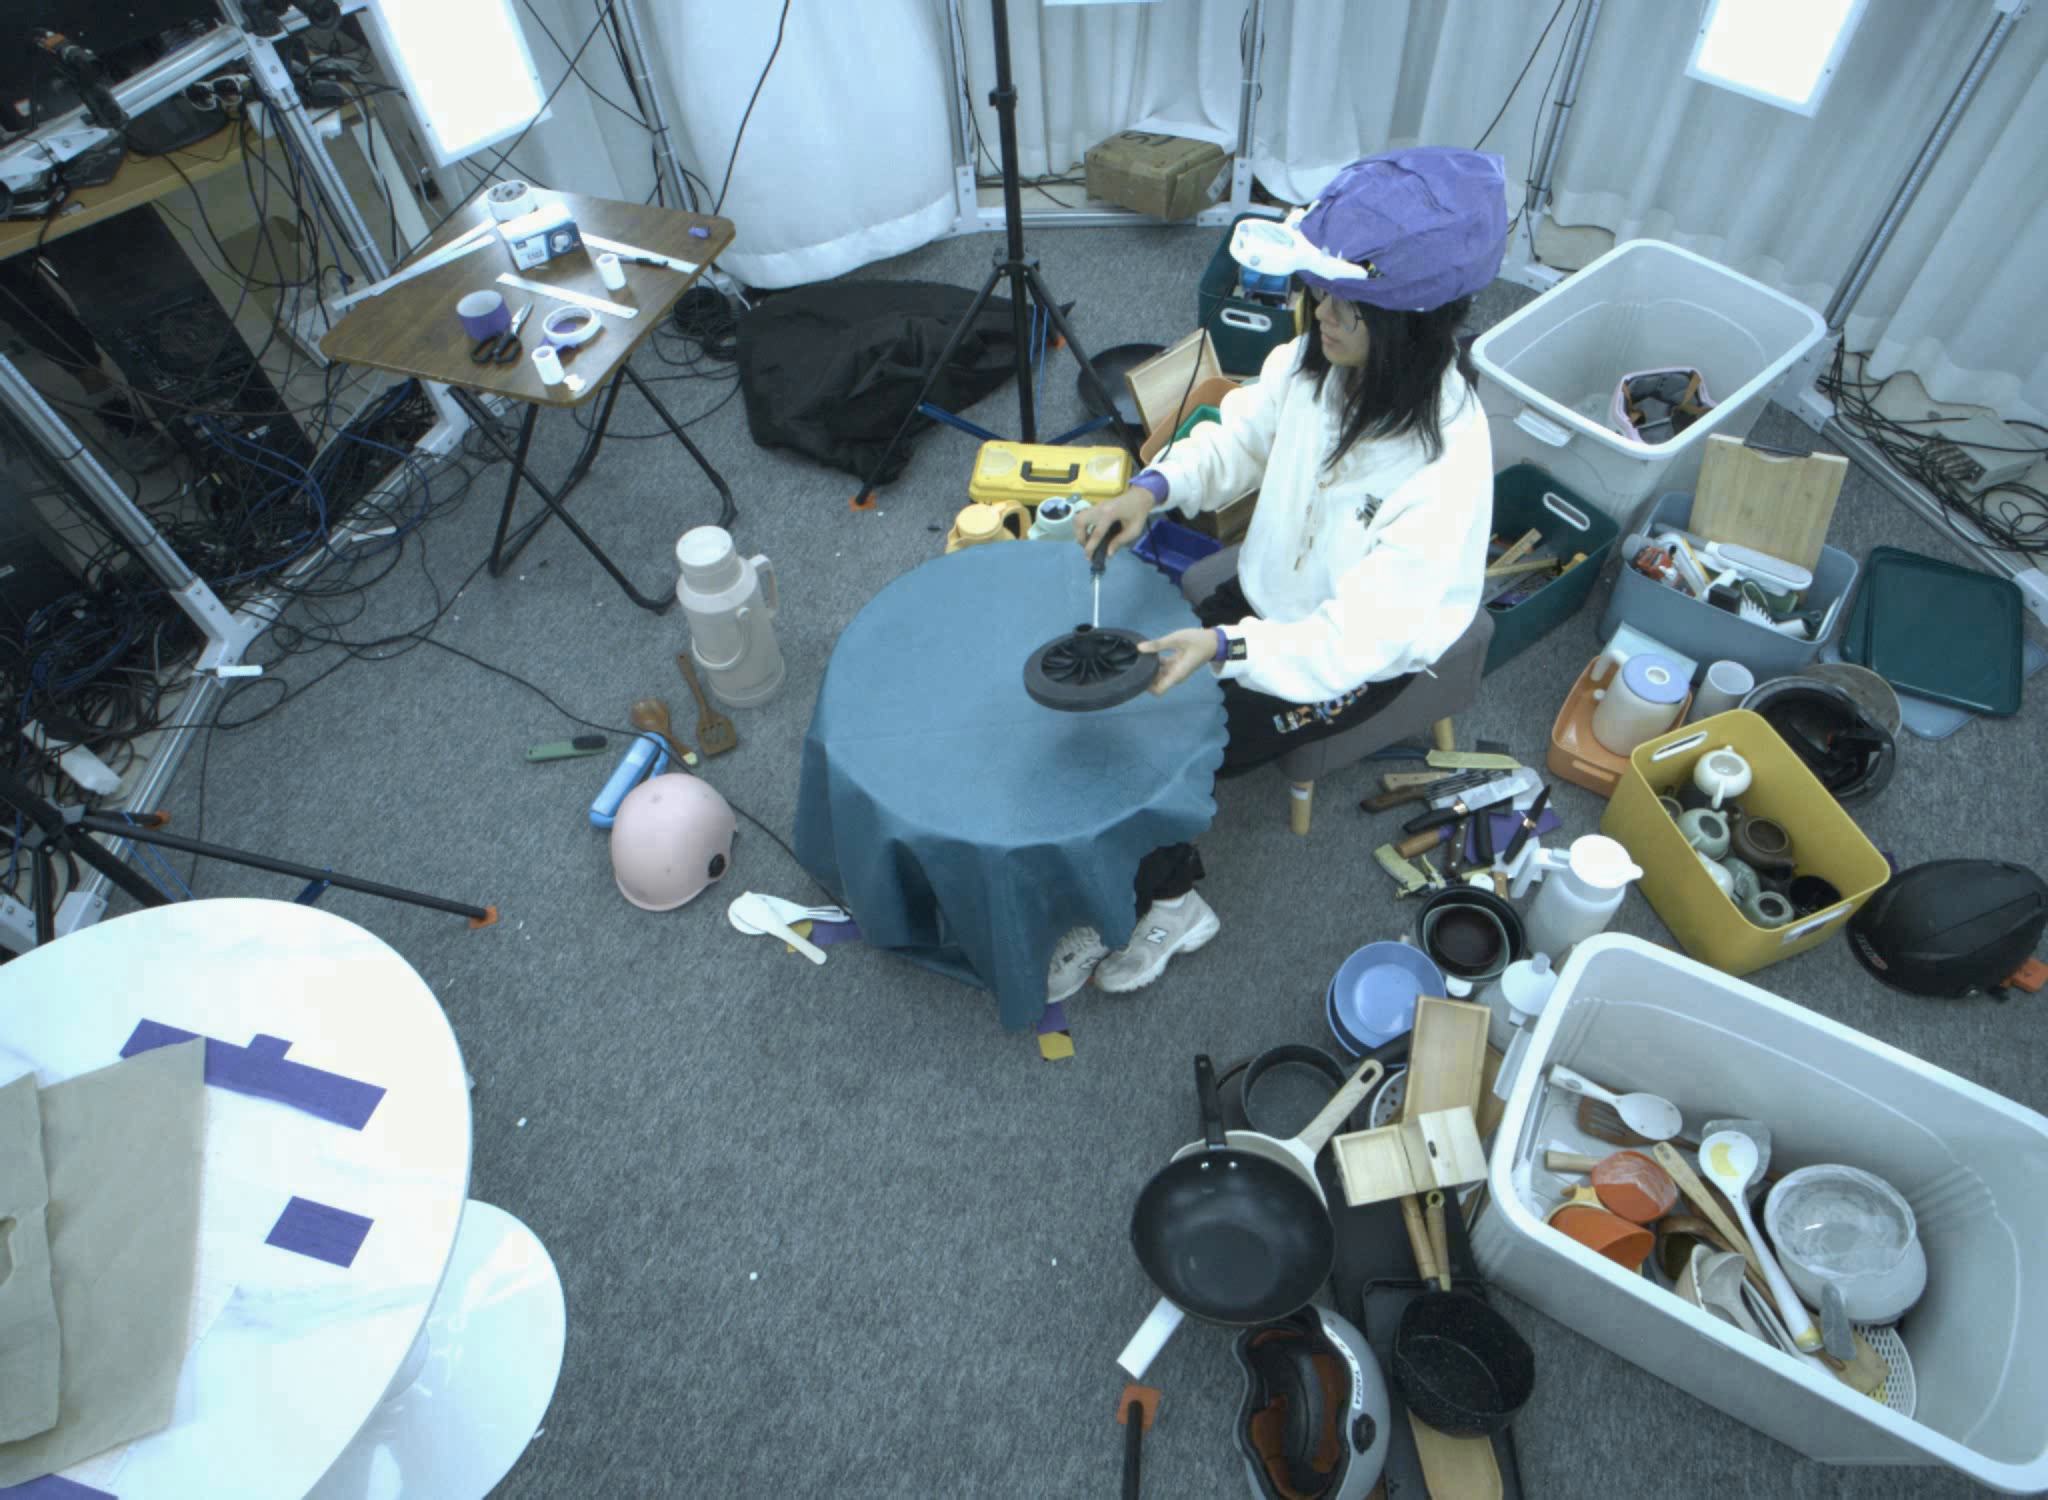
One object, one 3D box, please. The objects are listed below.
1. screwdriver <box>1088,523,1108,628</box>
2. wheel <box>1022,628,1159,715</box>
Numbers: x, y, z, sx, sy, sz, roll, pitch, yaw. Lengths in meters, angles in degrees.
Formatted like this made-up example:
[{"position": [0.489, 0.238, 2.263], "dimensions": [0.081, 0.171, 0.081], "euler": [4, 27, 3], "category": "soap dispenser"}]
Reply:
[{"position": [0.110, -0.255, 1.792], "dimensions": [0.031, 0.032, 0.194], "euler": [-2, 58, 2], "category": "screwdriver"}, {"position": [0.086, -0.125, 1.674], "dimensions": [0.188, 0.080, 0.186], "euler": [-4, 36, 14], "category": "wheel"}]
